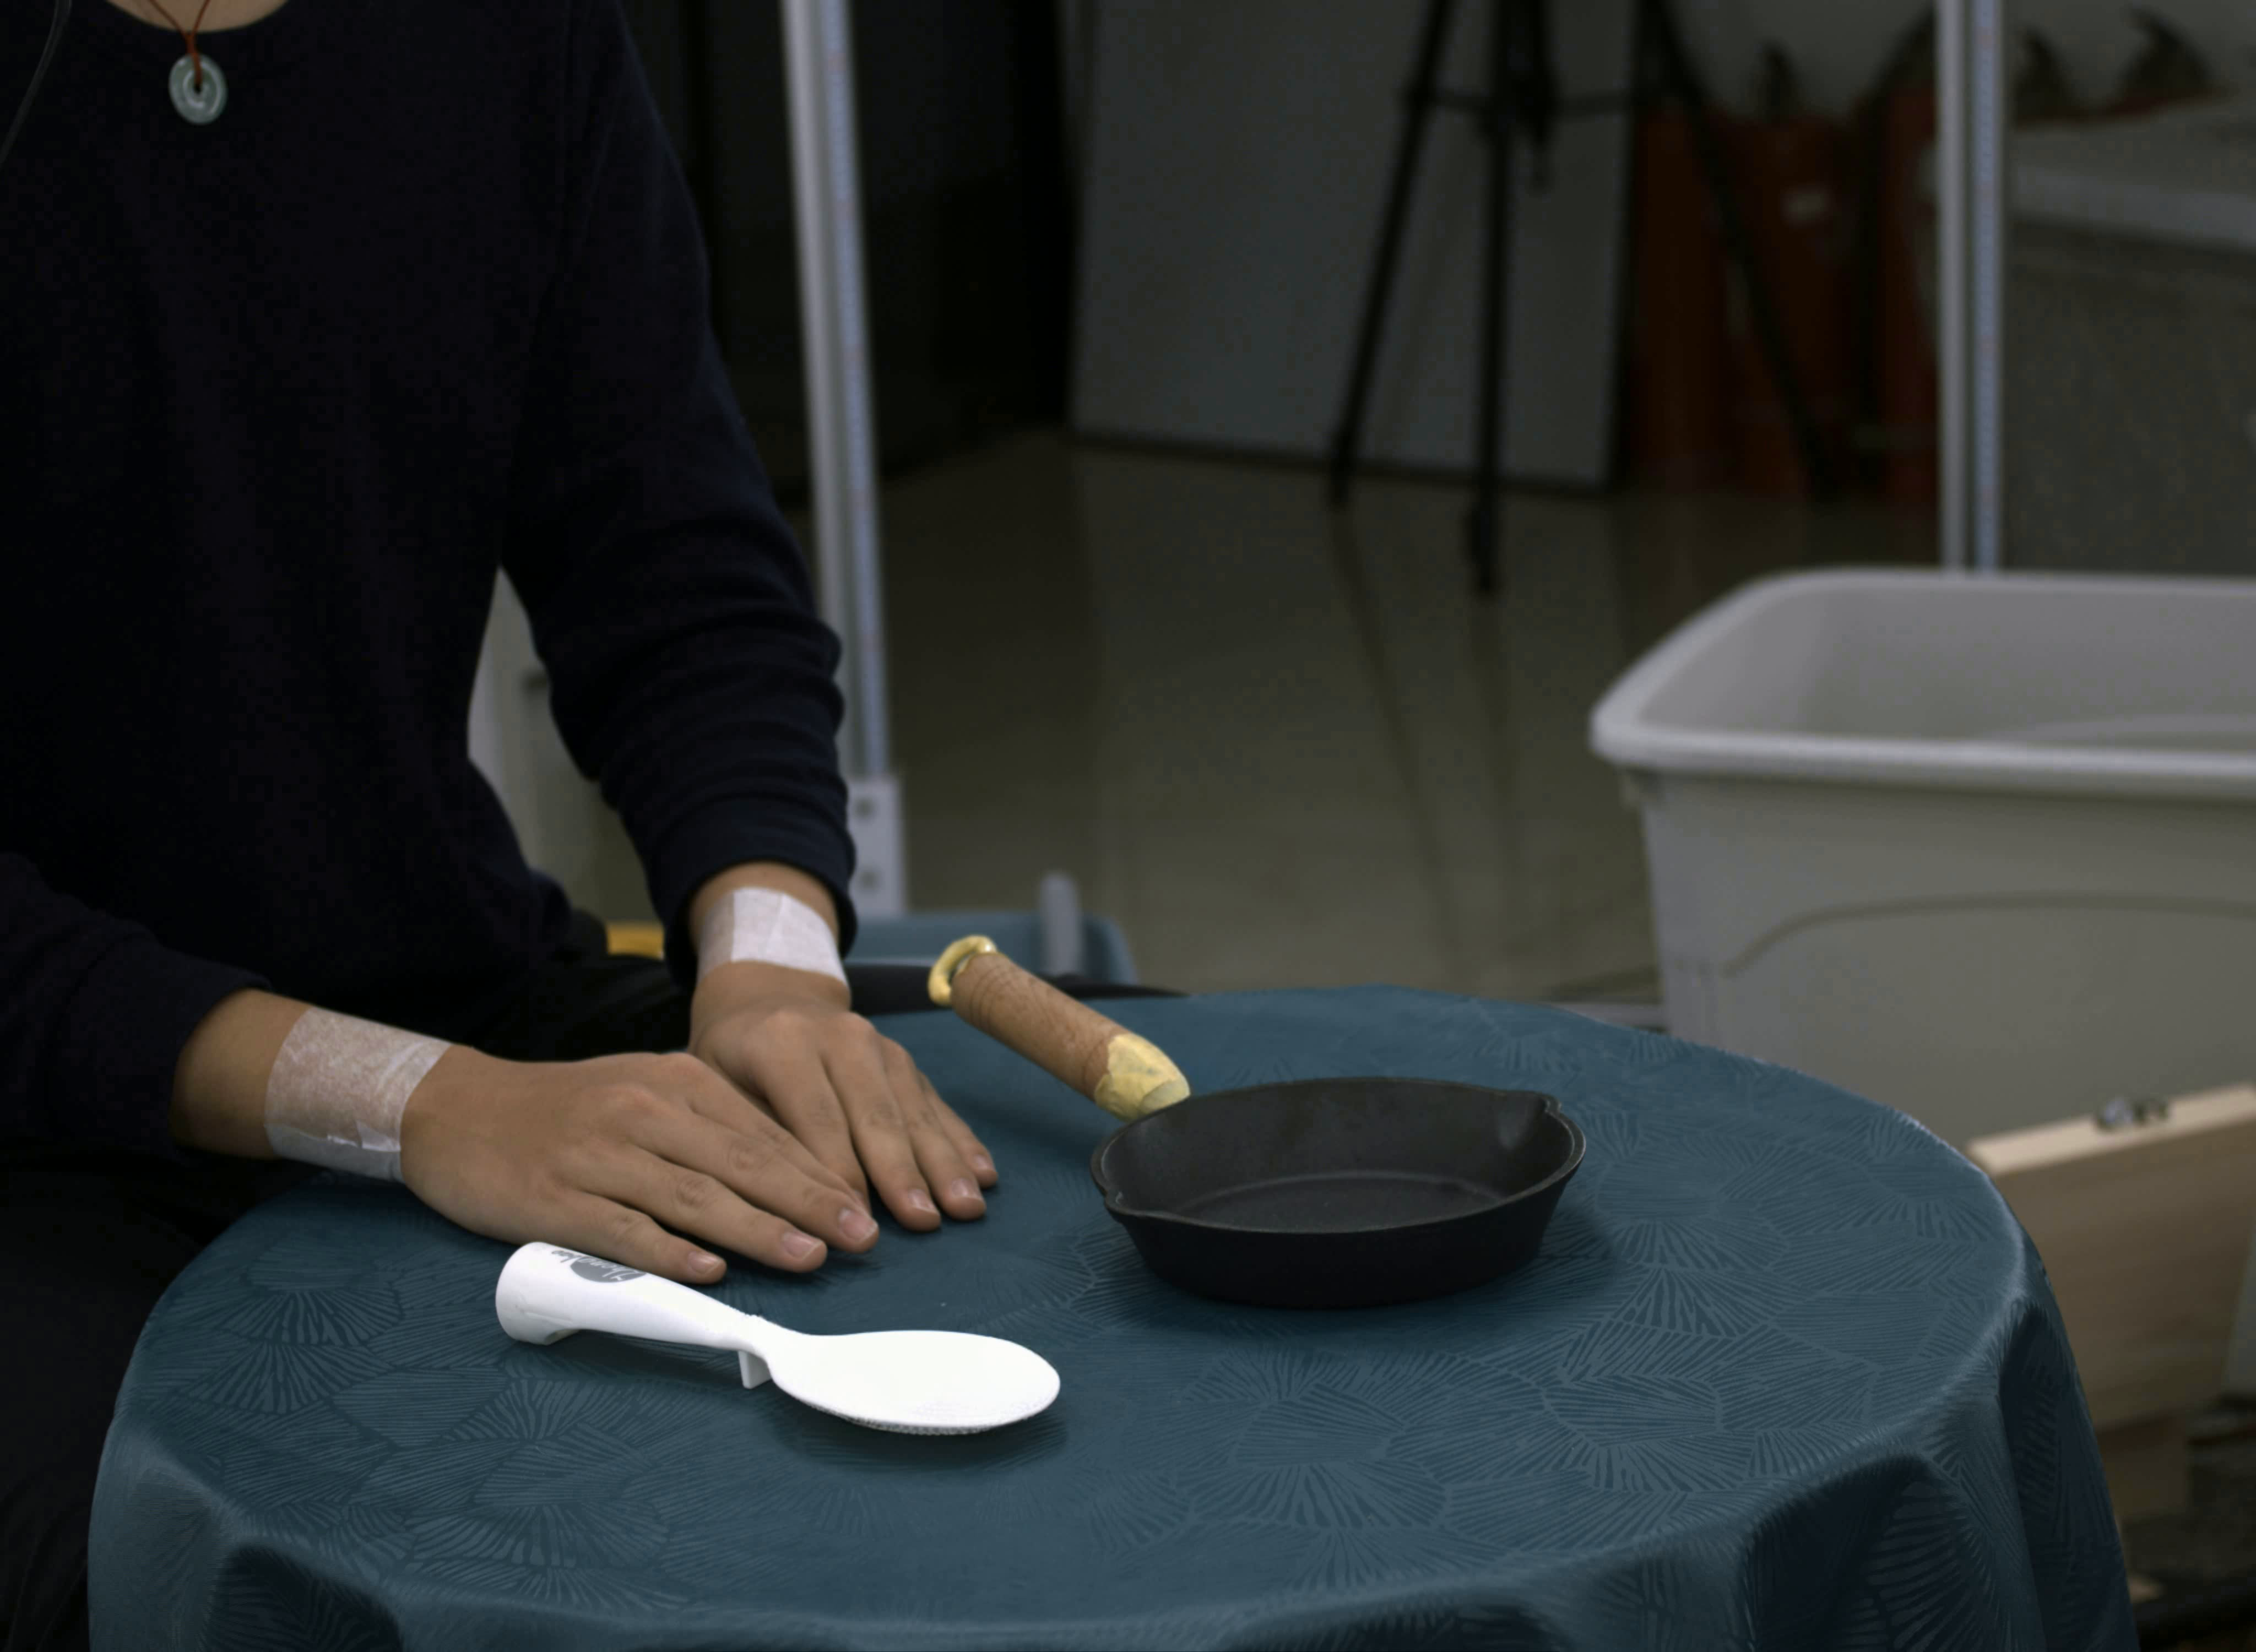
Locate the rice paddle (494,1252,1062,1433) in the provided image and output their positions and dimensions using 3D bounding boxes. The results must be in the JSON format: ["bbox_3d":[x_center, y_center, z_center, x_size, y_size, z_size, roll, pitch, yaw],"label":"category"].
[{"bbox_3d":[-0.105,0.154,1.607,0.207,0.030,0.067,6,19,38],"label":"rice paddle"}]

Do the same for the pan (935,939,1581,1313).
[{"bbox_3d":[0.023,0.094,1.768,0.165,0.050,0.327,-12,17,-28],"label":"pan"}]
